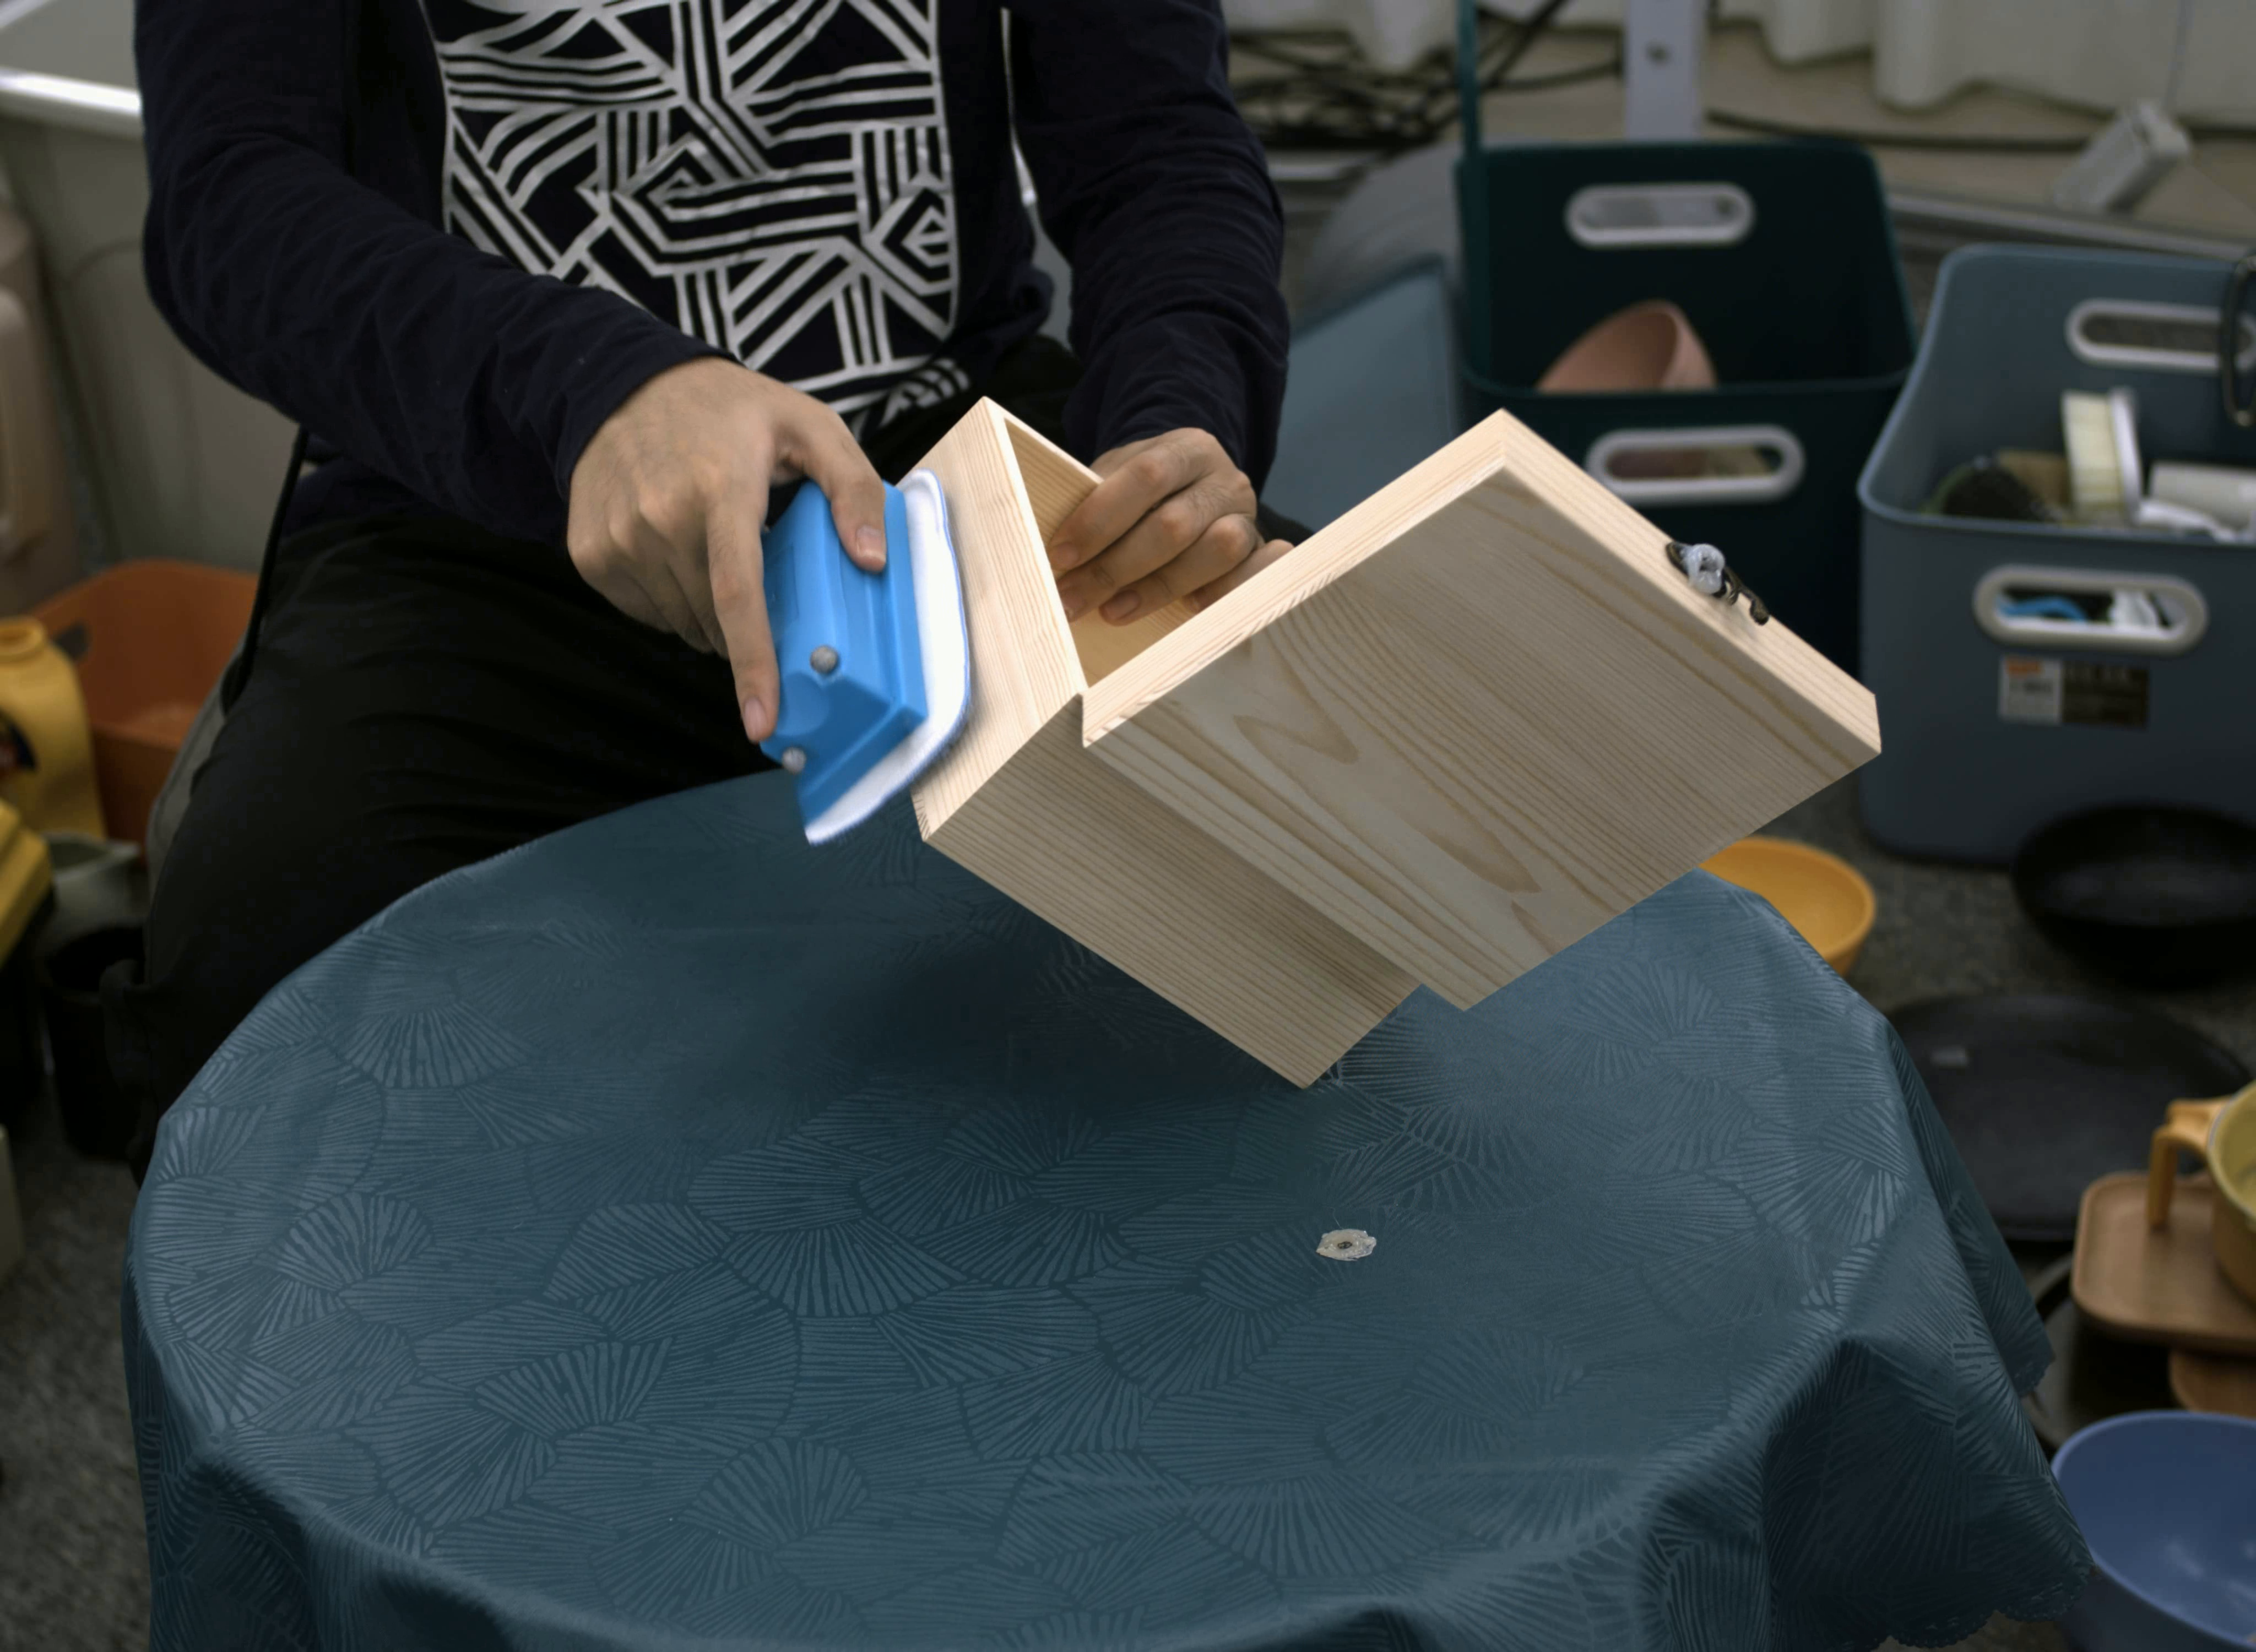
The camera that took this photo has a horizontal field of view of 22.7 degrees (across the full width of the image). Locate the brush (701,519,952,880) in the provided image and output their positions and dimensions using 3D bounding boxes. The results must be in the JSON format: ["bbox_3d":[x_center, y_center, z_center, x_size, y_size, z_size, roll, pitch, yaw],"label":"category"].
[{"bbox_3d":[-0.110,-0.050,1.888,0.083,0.055,0.146,-38,37,13],"label":"brush"}]

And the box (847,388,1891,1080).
[{"bbox_3d":[0.072,-0.070,1.877,0.181,0.250,0.269,34,21,-33],"label":"box"}]
